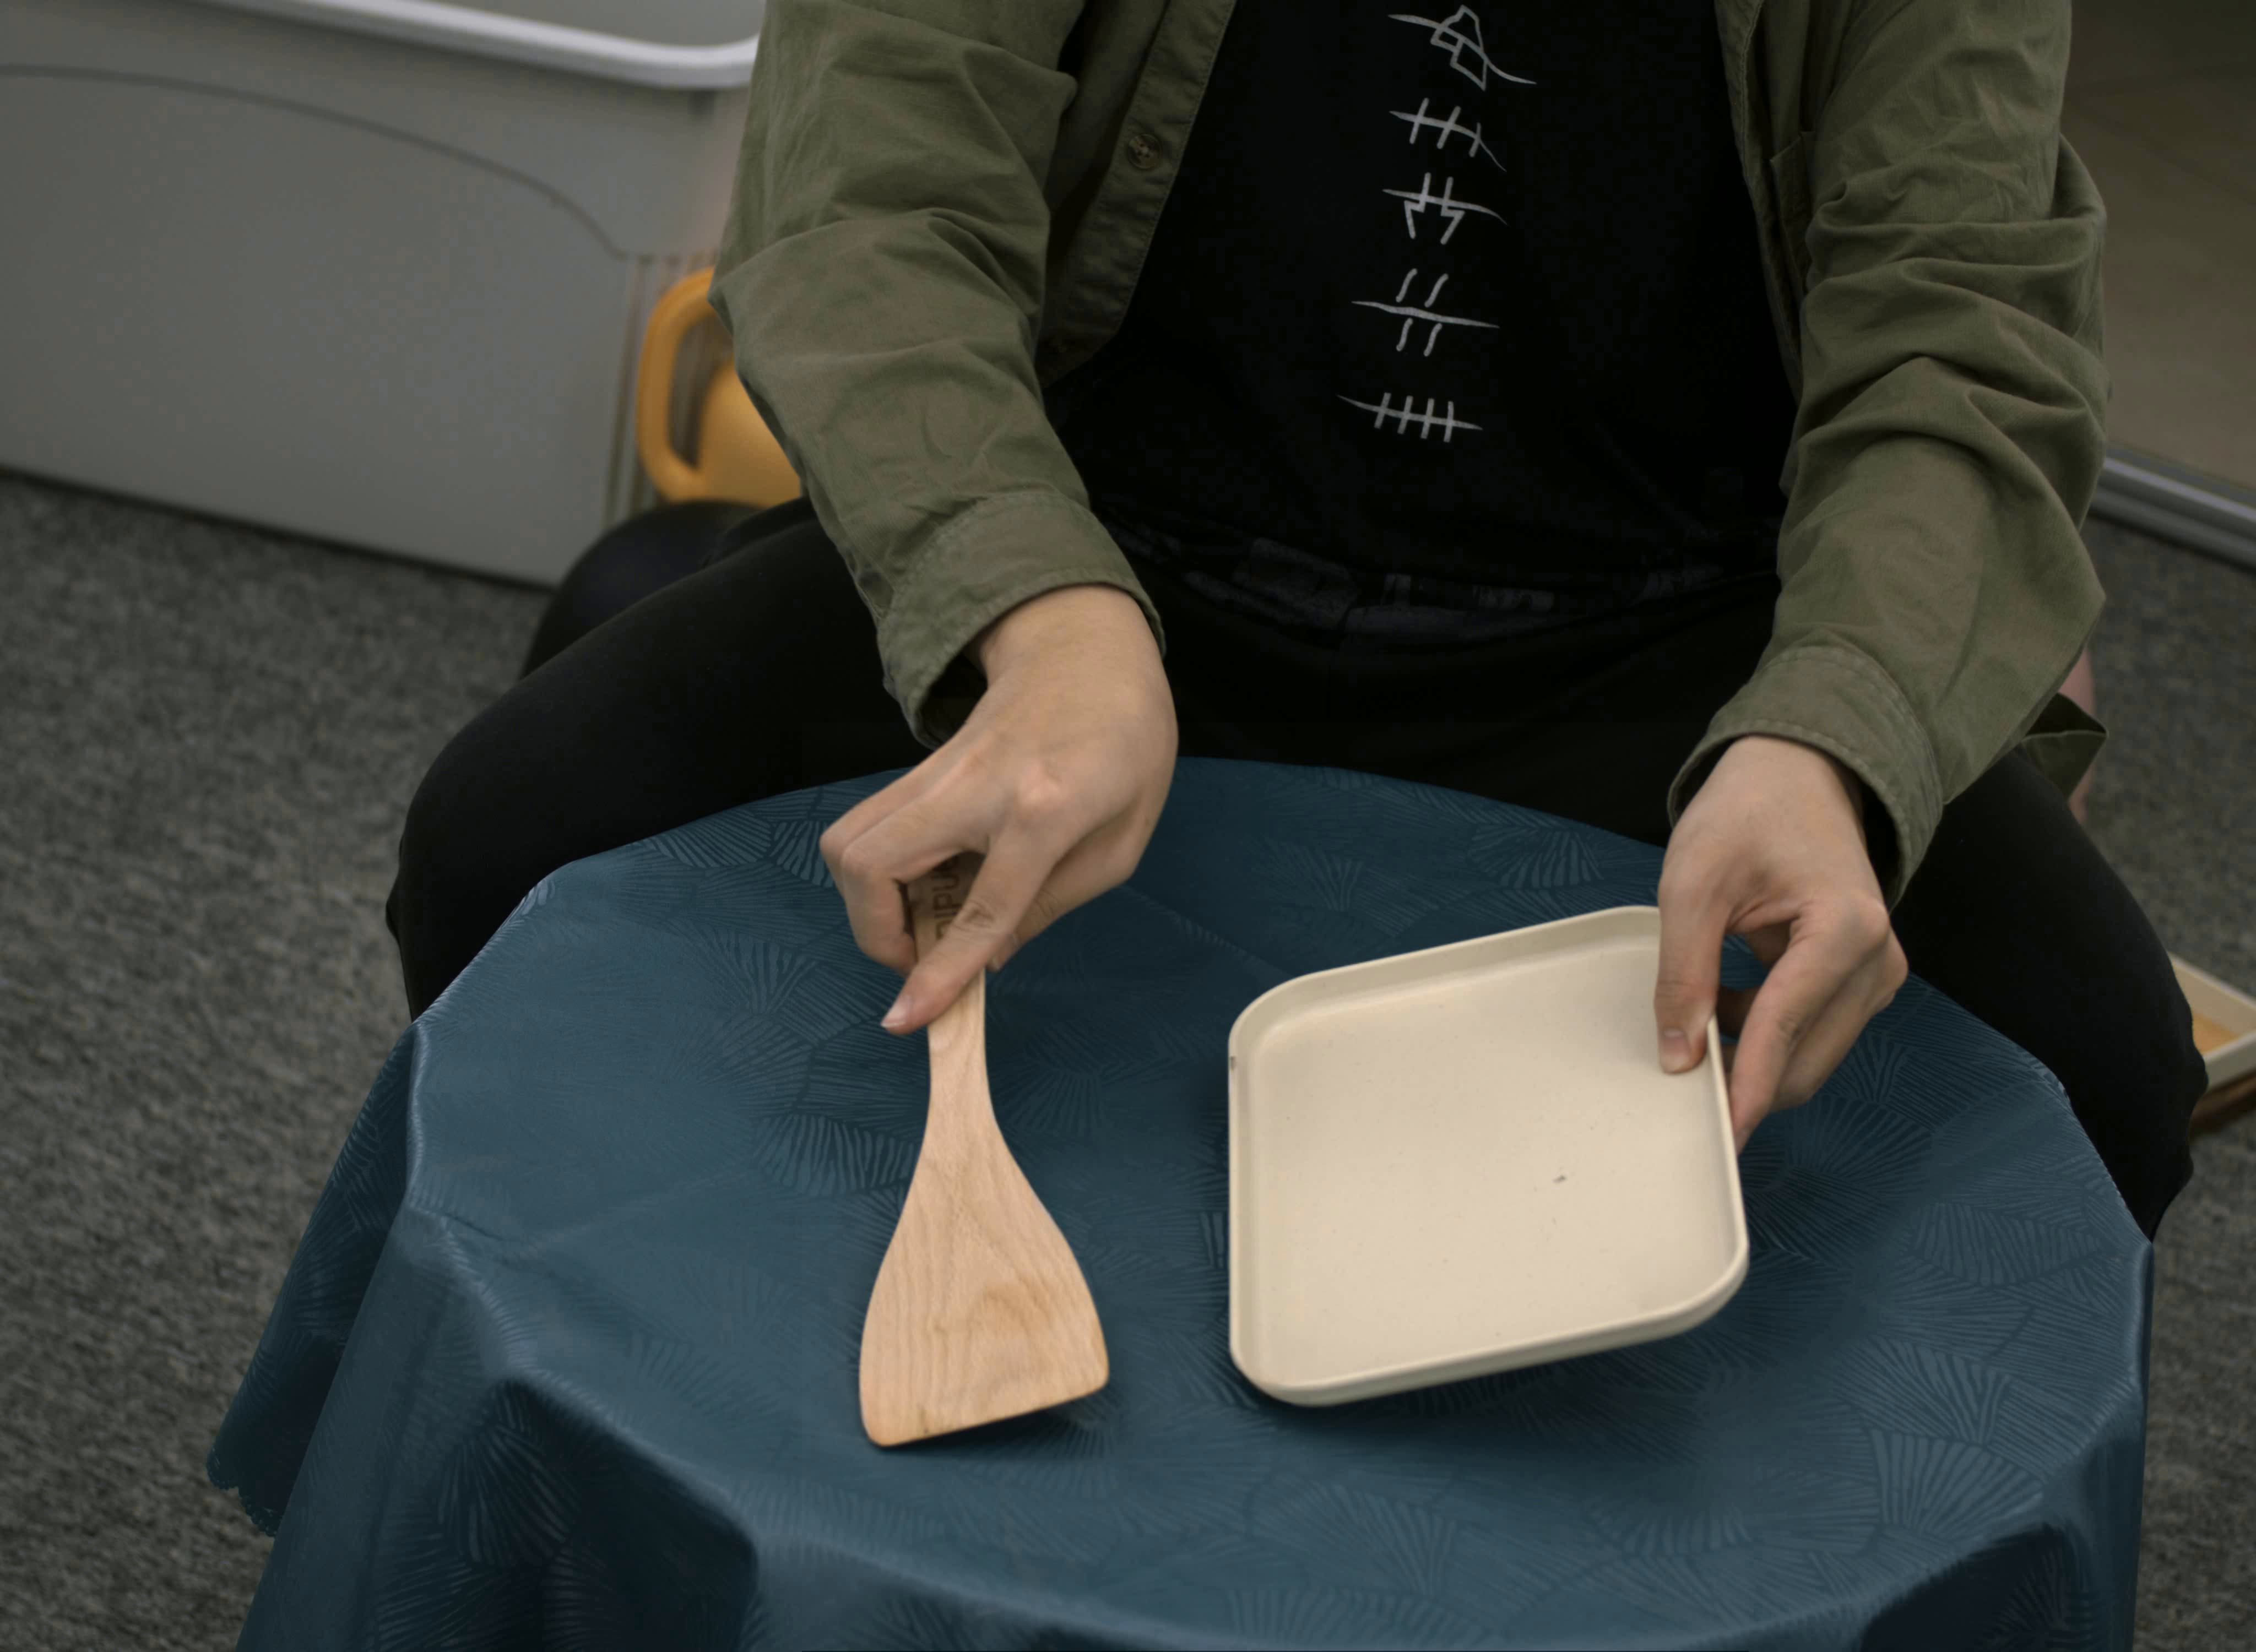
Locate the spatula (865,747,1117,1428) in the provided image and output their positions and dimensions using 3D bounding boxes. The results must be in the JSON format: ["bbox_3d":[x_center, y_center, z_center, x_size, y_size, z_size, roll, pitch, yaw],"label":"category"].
[{"bbox_3d":[-0.056,0.079,1.776,0.080,0.016,0.330,-9,42,1],"label":"spatula"}]

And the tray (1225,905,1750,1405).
[{"bbox_3d":[0.116,0.108,1.765,0.171,0.017,0.241,-13,30,9],"label":"tray"}]
